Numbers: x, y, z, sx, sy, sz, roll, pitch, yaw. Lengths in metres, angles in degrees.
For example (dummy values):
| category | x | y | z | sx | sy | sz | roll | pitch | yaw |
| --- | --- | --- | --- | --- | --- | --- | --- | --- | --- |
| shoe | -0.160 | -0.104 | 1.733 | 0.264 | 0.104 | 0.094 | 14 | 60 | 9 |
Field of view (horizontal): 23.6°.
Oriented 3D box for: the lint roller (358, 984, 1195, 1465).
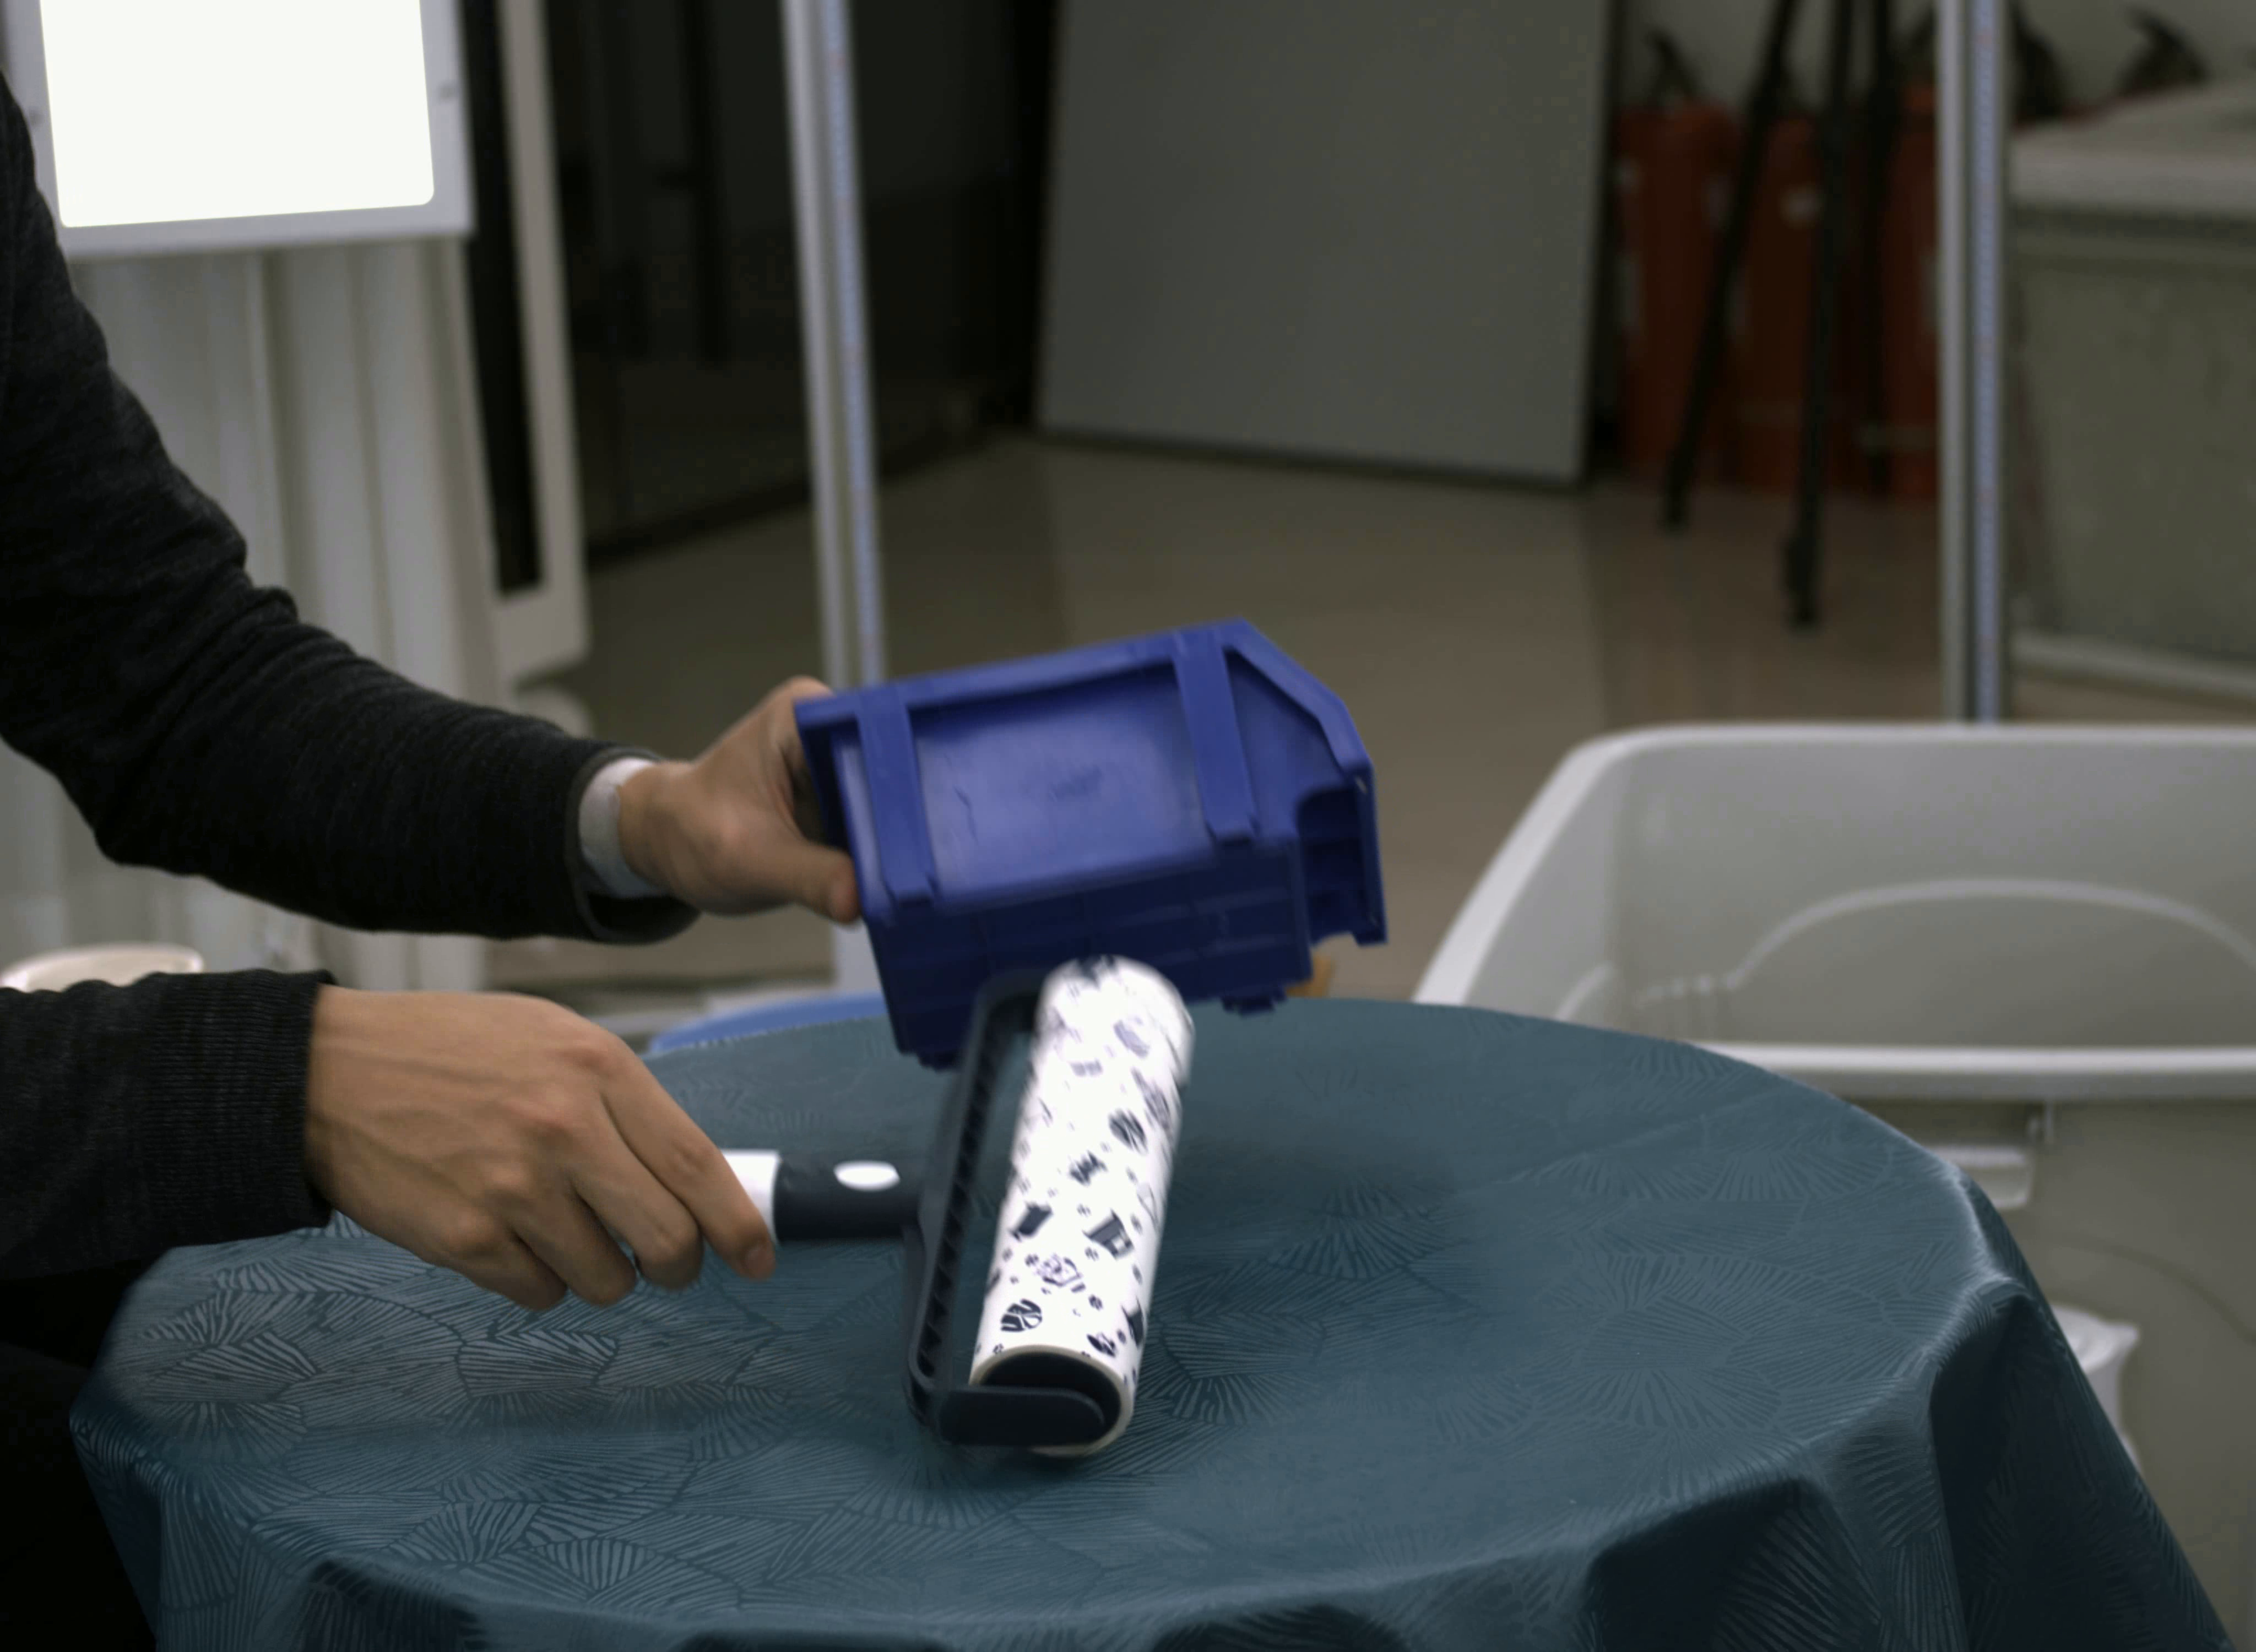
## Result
| category | x | y | z | sx | sy | sz | roll | pitch | yaw |
| --- | --- | --- | --- | --- | --- | --- | --- | --- | --- |
| lint roller | -0.110 | 0.114 | 1.596 | 0.245 | 0.050 | 0.177 | 1 | 38 | 10 |

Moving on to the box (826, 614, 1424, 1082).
| category | x | y | z | sx | sy | sz | roll | pitch | yaw |
| --- | --- | --- | --- | --- | --- | --- | --- | --- | --- |
| box | 0.003 | 0.009 | 1.764 | 0.177 | 0.083 | 0.124 | -14 | -31 | 0 |
